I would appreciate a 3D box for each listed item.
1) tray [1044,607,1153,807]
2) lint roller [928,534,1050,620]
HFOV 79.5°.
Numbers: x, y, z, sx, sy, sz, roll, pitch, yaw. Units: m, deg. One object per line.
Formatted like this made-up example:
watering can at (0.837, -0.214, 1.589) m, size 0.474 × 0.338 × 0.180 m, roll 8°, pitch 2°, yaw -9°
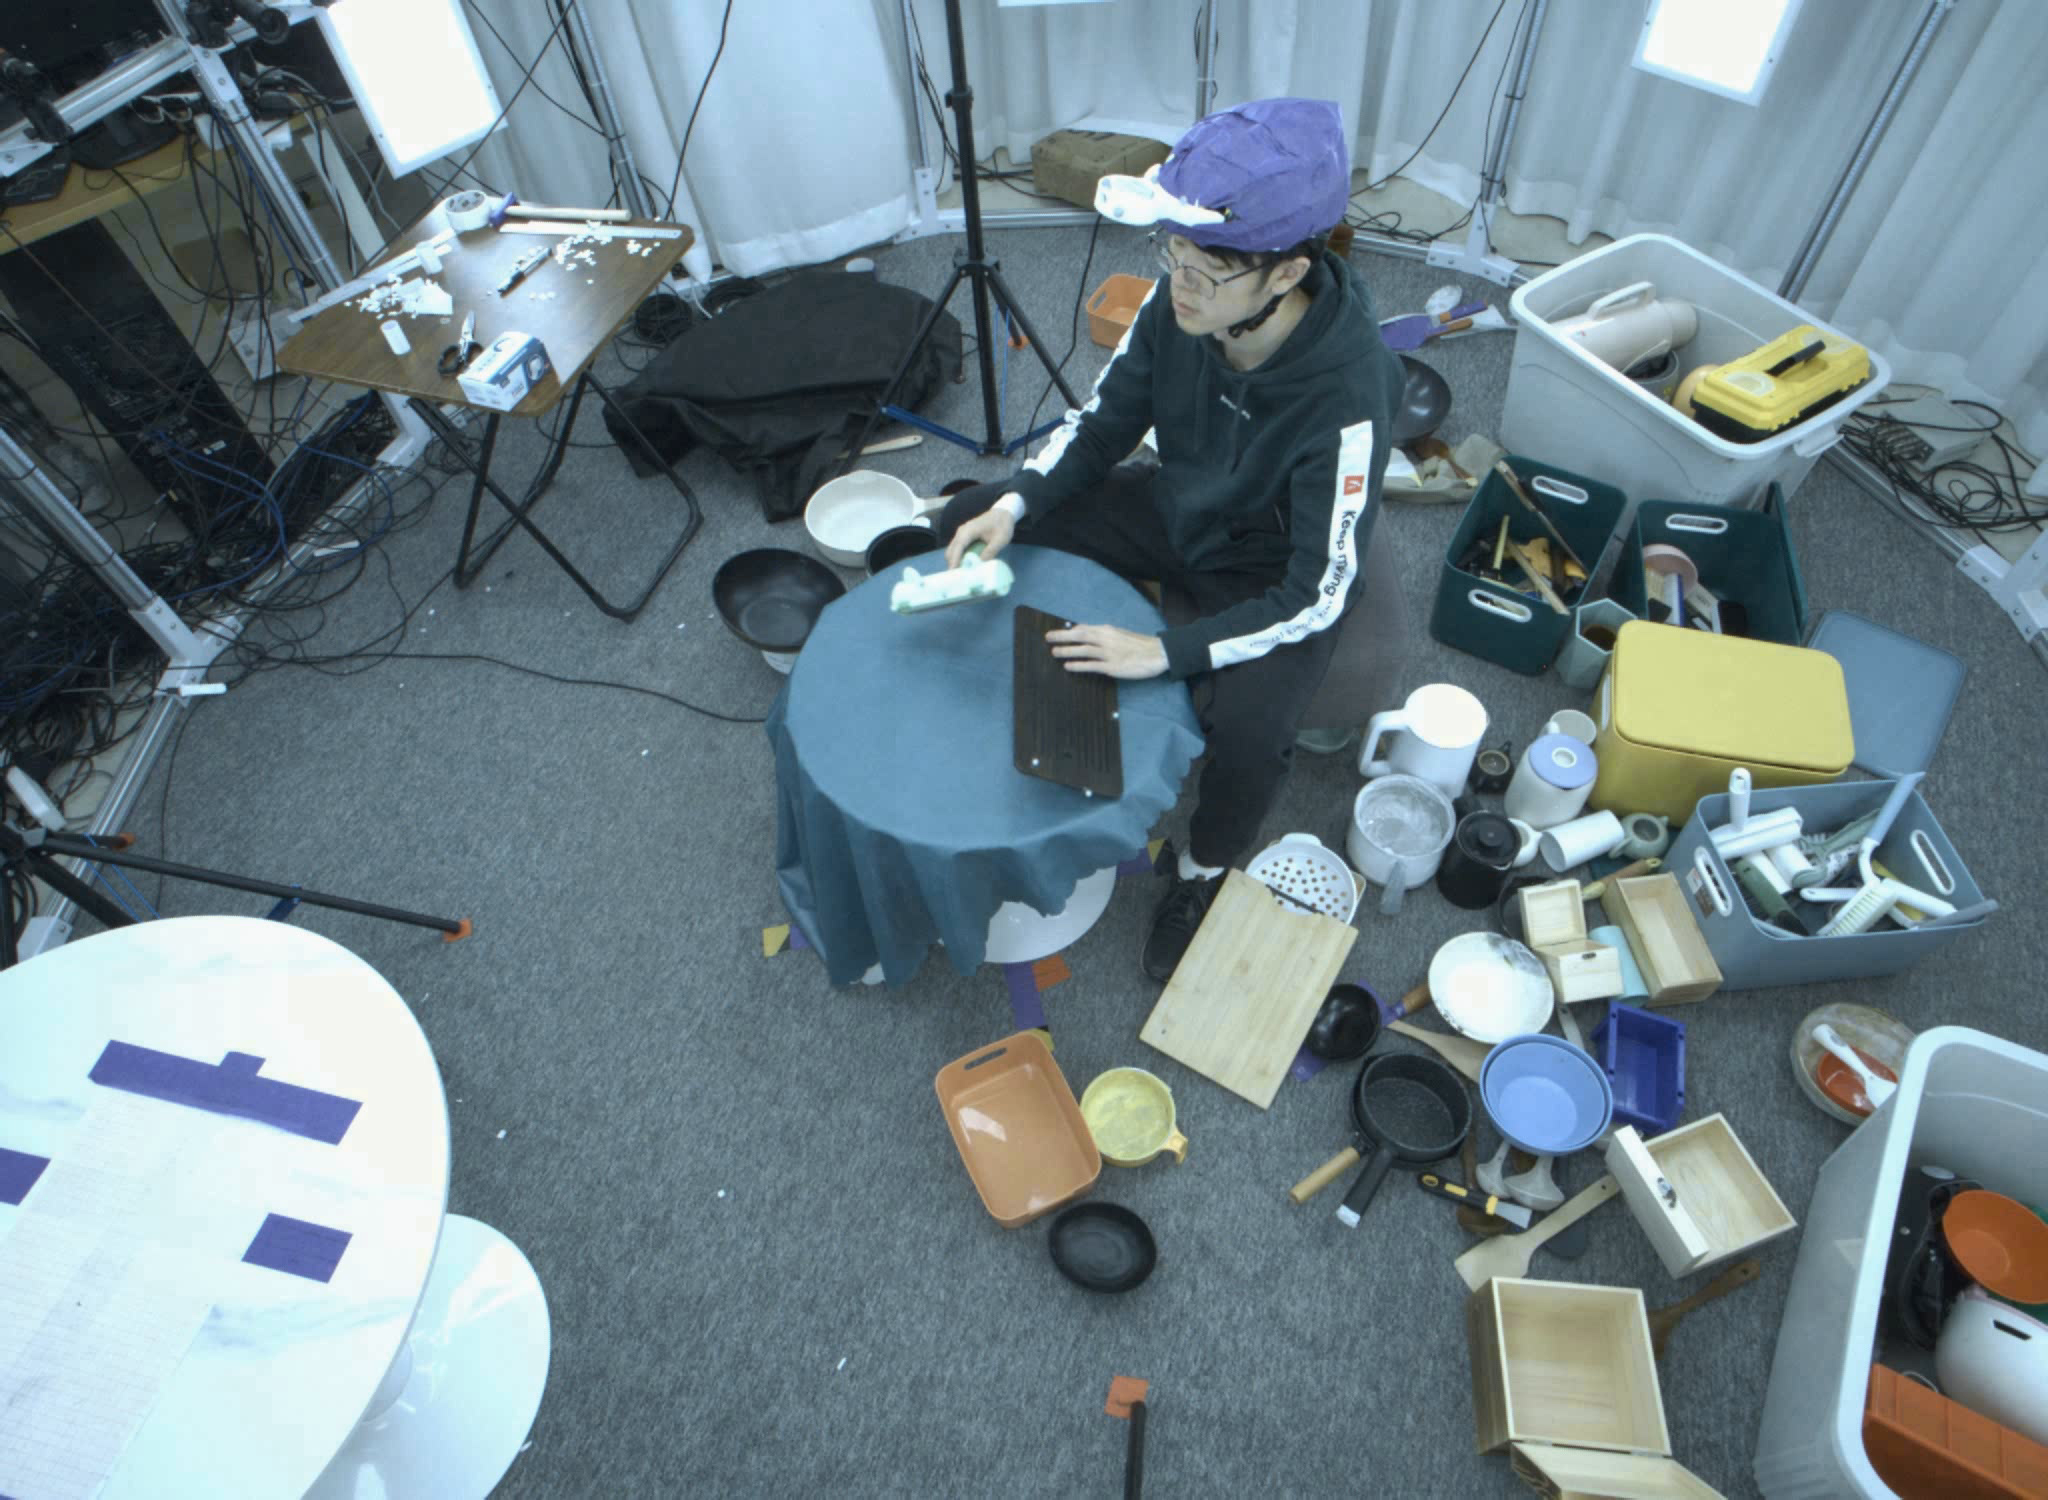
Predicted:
tray at (0.105, -0.064, 1.768) m, size 0.173 × 0.018 × 0.303 m, roll 19°, pitch 51°, yaw -23°
lint roller at (-0.043, -0.285, 1.852) m, size 0.195 × 0.084 × 0.183 m, roll -10°, pitch 45°, yaw 34°
